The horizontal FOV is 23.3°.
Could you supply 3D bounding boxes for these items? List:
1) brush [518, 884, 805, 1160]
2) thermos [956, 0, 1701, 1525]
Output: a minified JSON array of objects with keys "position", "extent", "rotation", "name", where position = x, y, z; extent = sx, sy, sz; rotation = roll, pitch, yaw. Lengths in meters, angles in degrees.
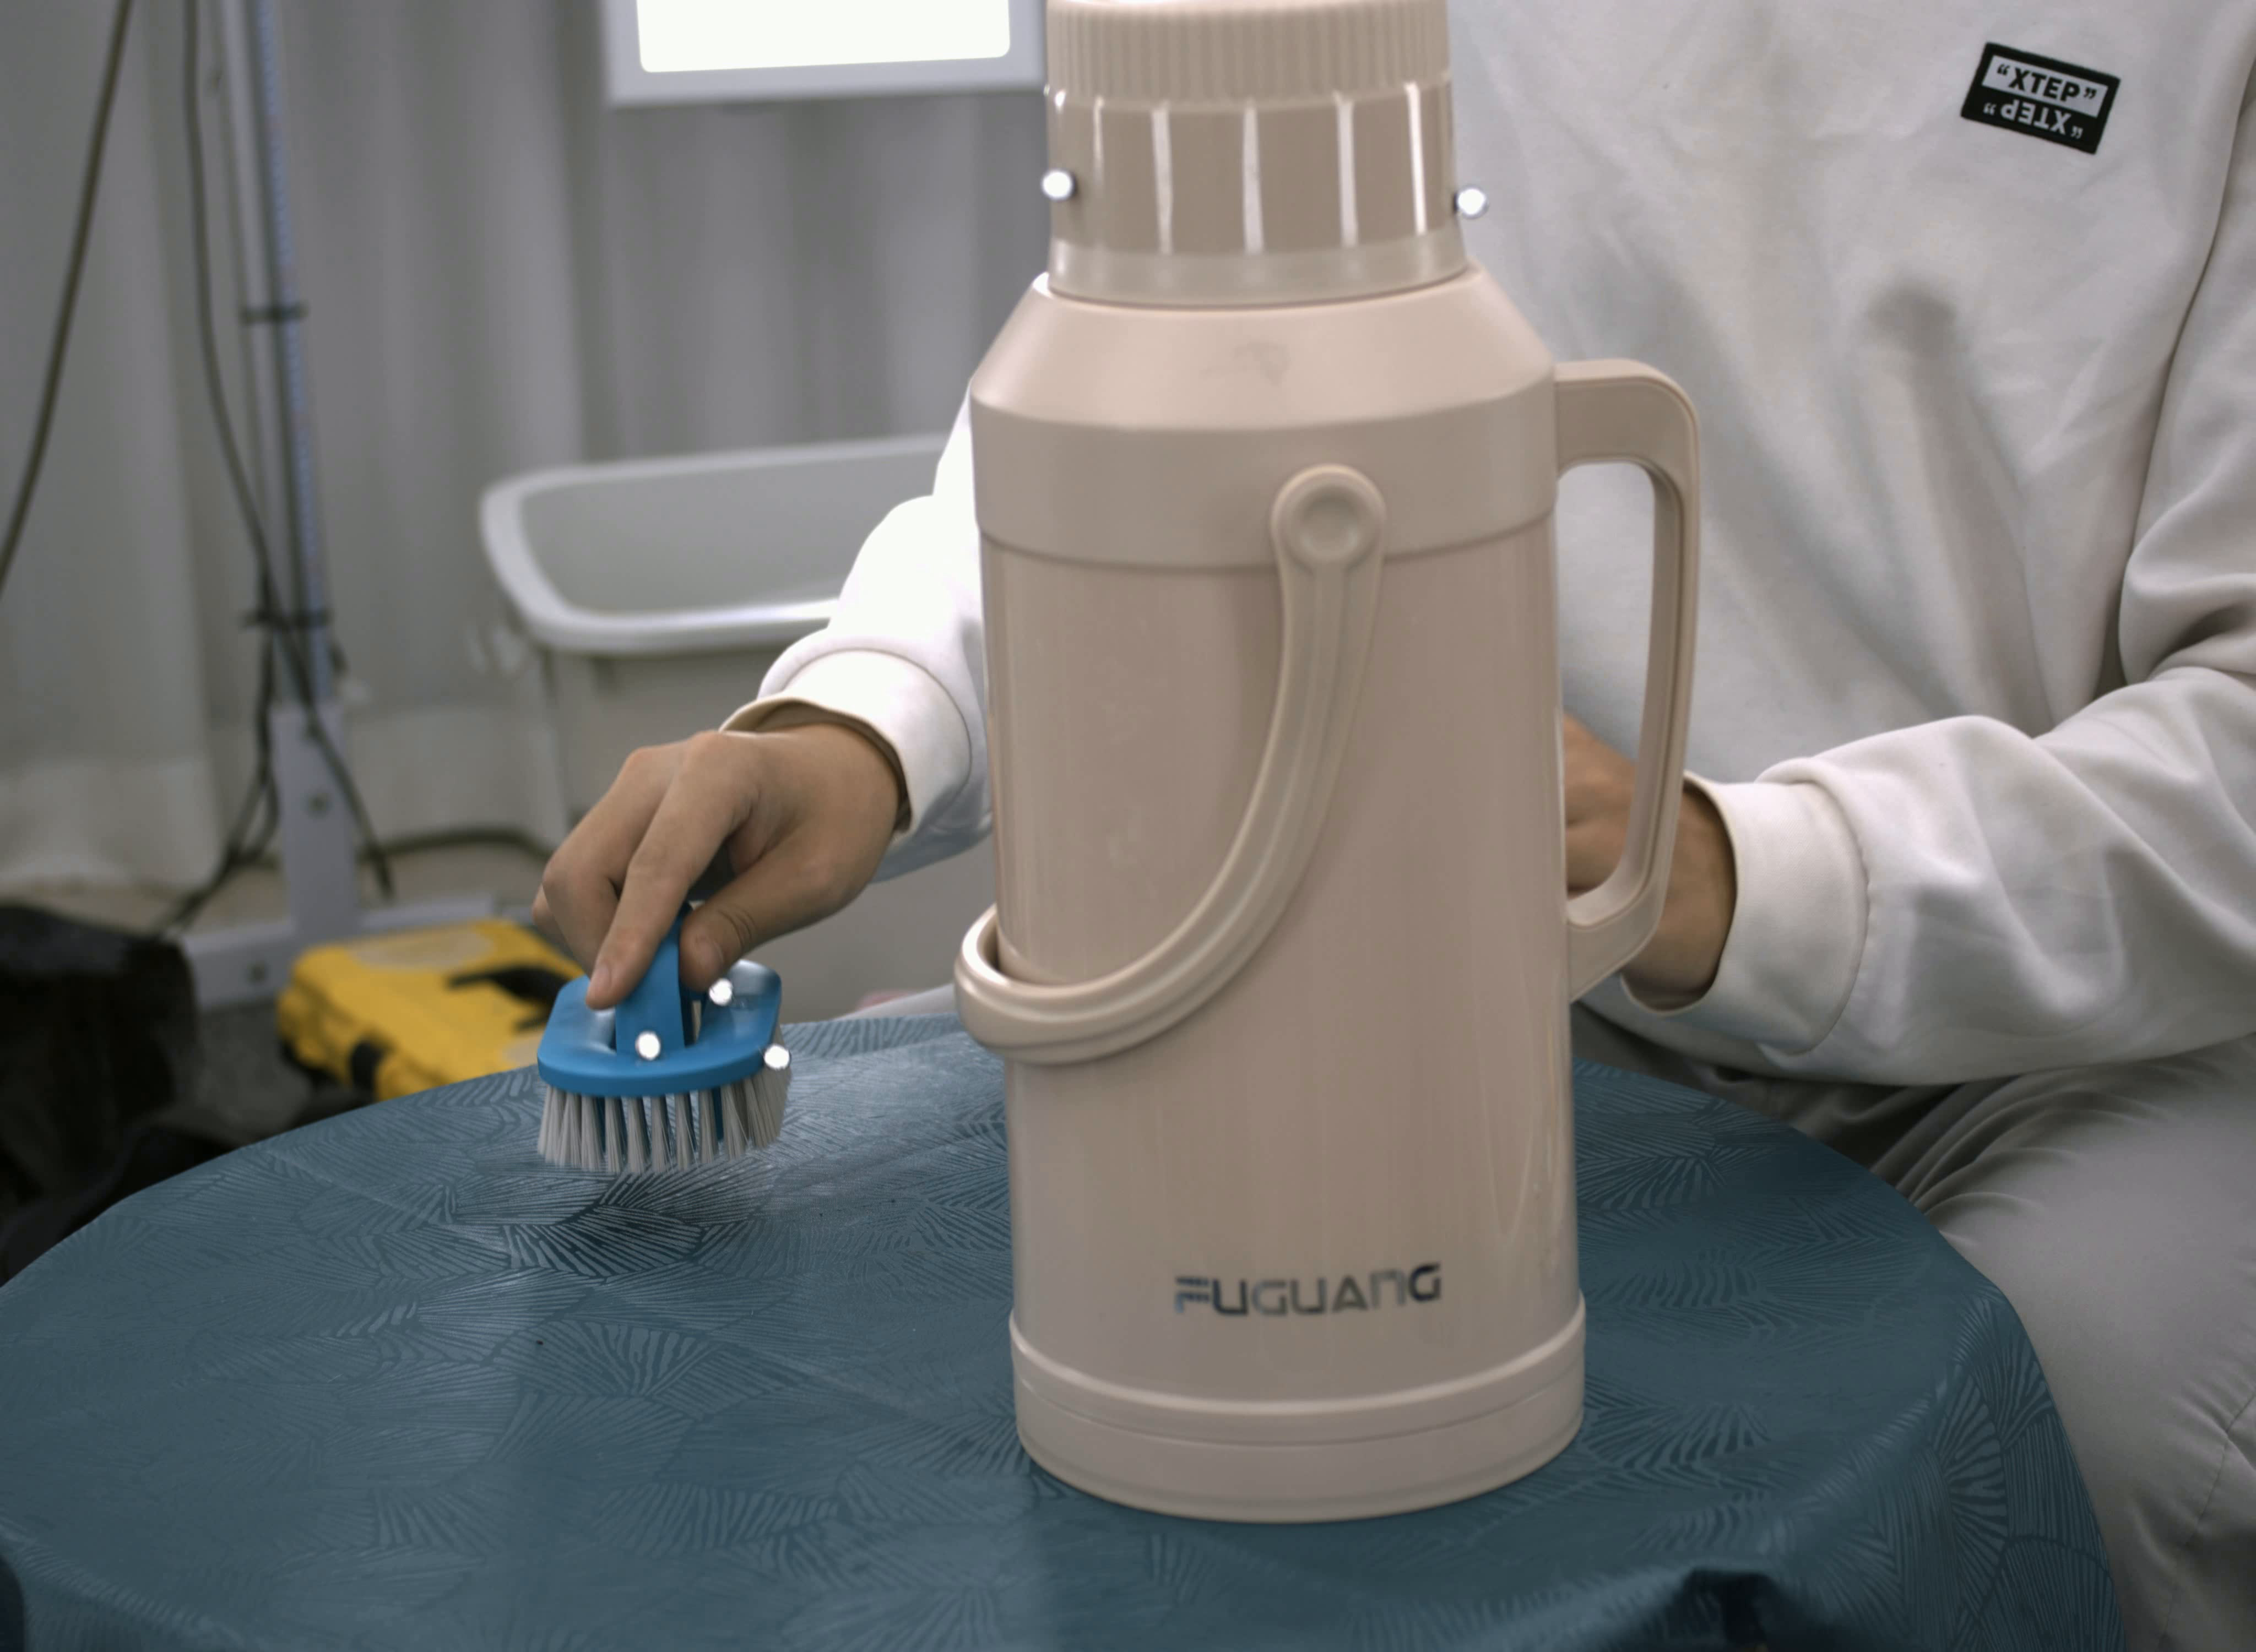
[{"position":[-0.148,0.056,1.731],"extent":[0.084,0.063,0.142],"rotation":[-6,13,2],"name":"brush"},{"position":[0.053,-0.027,1.476],"extent":[0.206,0.405,0.176],"rotation":[-5,12,-9],"name":"thermos"}]
